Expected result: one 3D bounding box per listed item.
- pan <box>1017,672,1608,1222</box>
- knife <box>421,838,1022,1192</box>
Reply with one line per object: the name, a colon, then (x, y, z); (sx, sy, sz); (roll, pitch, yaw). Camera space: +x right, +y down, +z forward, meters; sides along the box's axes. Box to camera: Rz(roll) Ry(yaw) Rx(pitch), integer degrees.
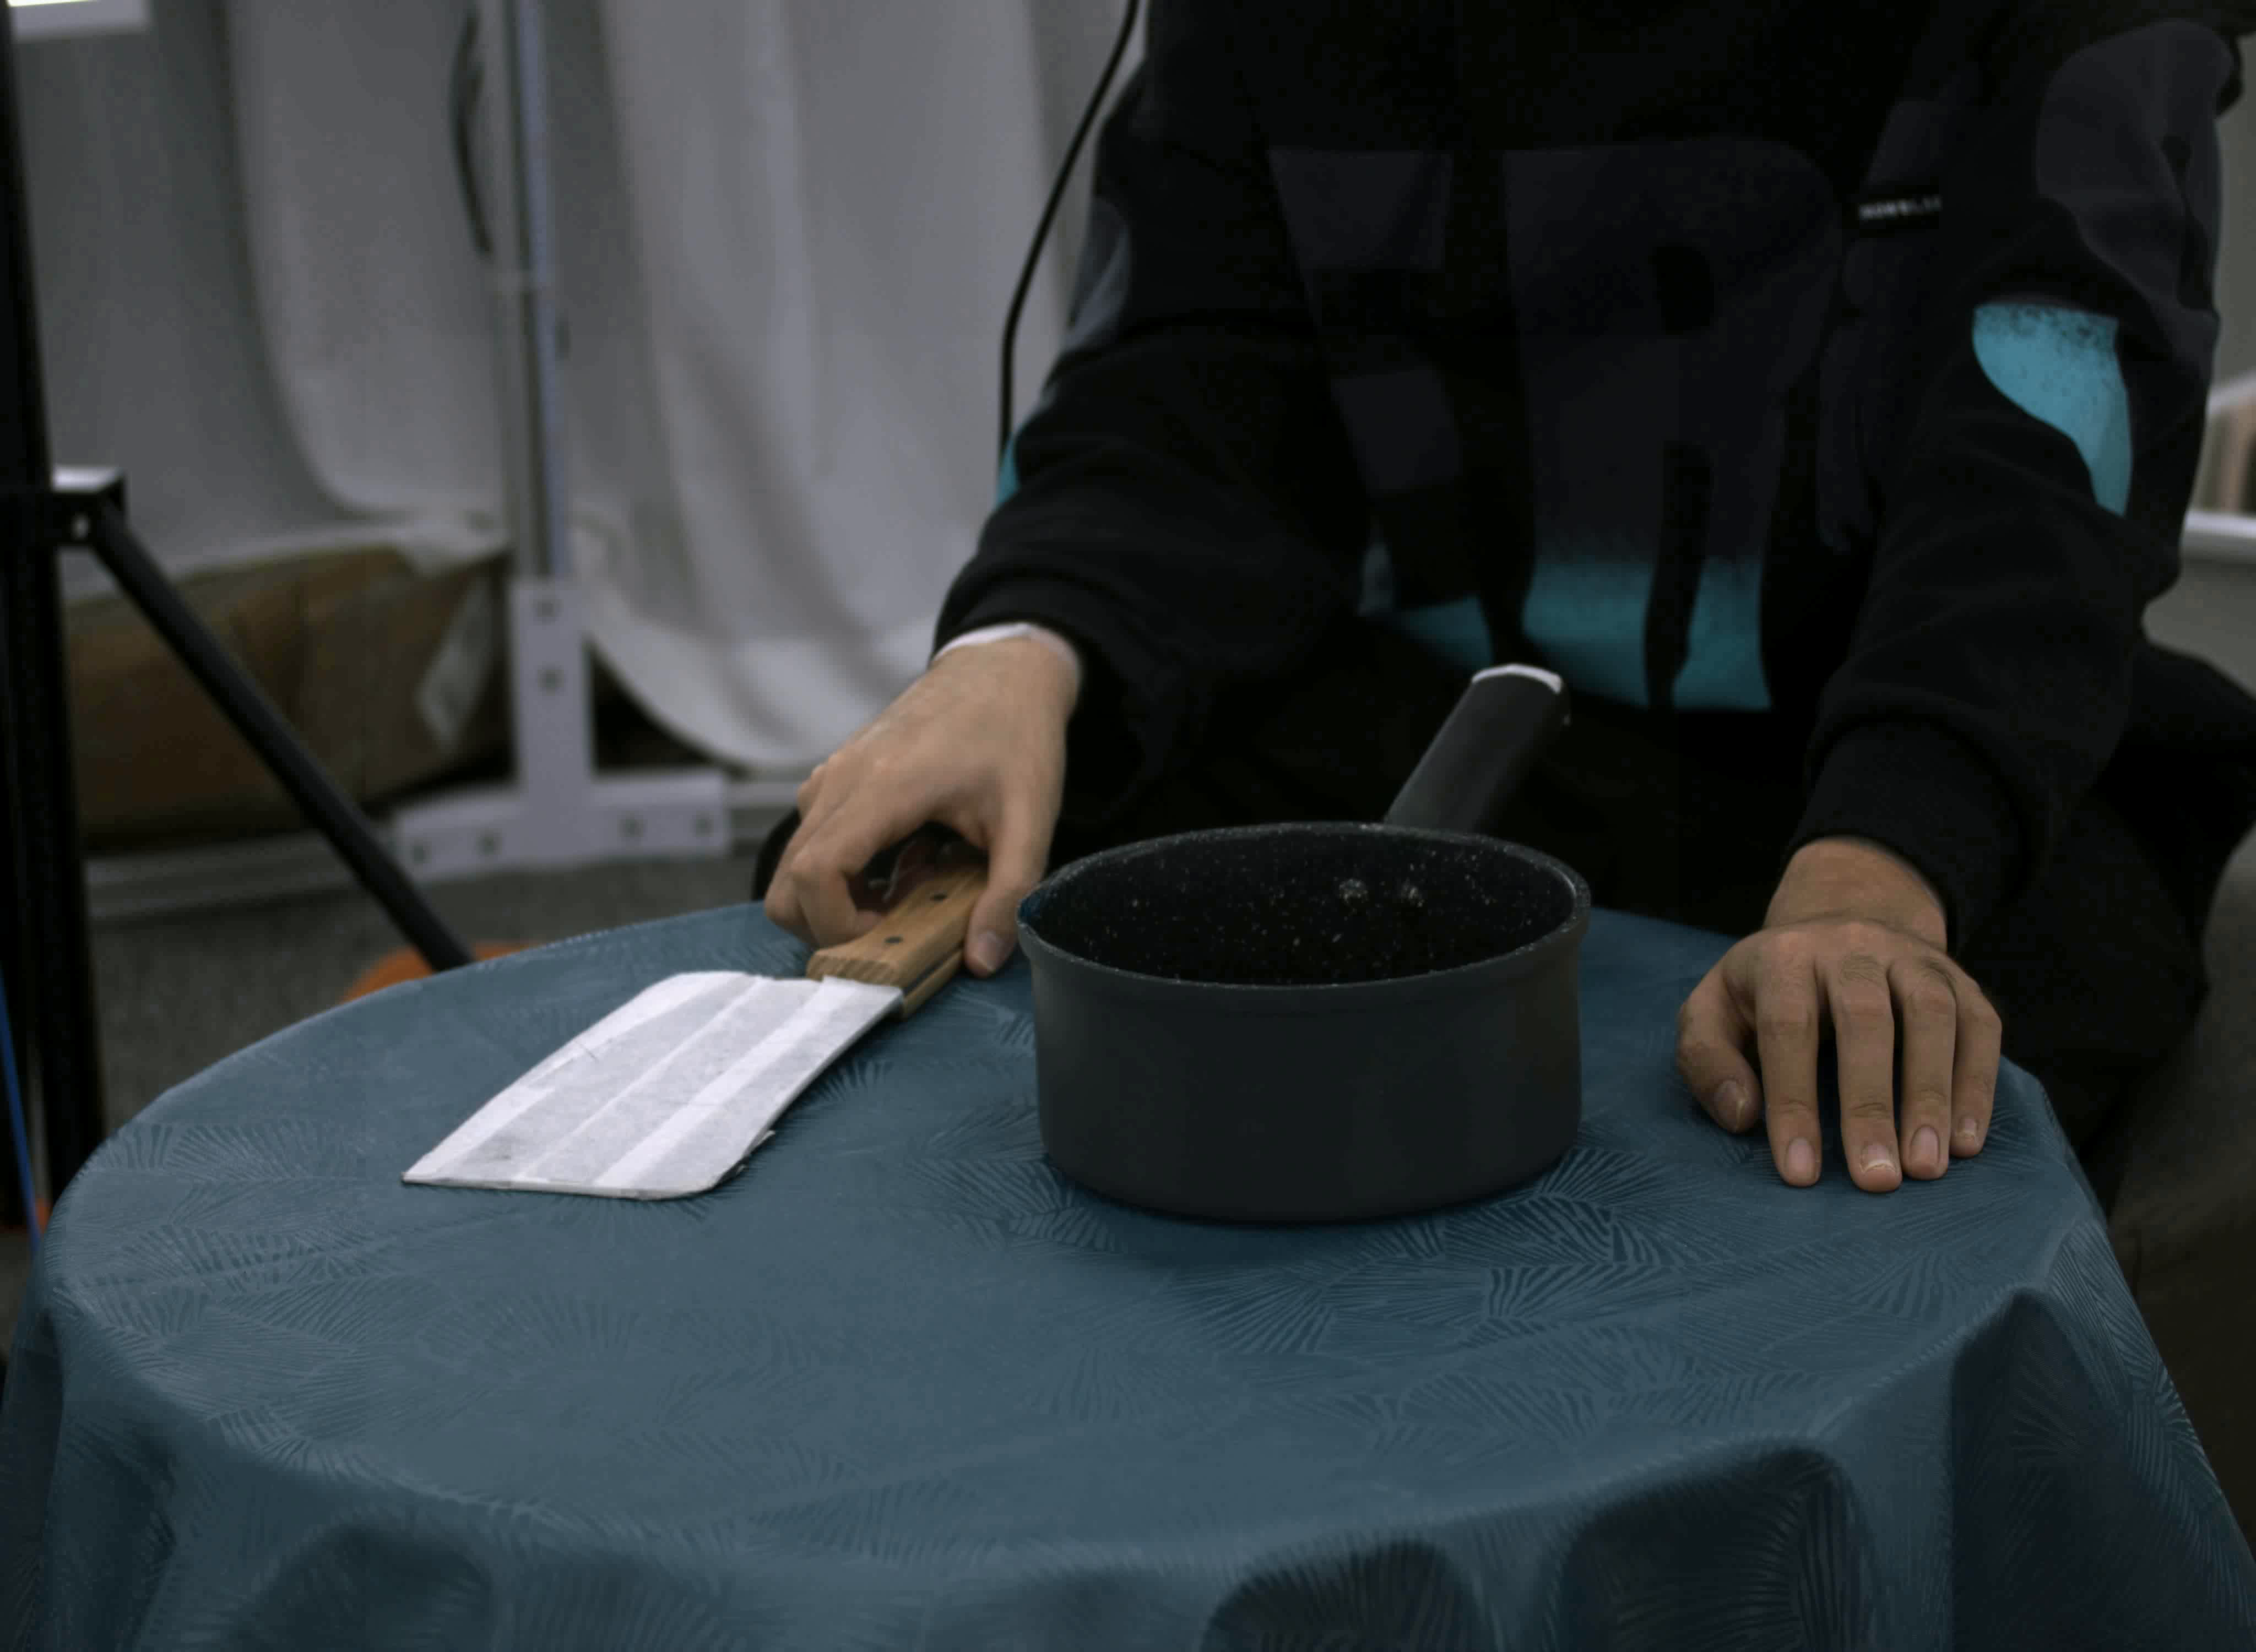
pan: (0.082, 0.034, 1.652); (0.174, 0.086, 0.324); (6, 19, 22)
knife: (-0.112, 0.061, 1.710); (0.115, 0.022, 0.311); (5, 20, 25)
